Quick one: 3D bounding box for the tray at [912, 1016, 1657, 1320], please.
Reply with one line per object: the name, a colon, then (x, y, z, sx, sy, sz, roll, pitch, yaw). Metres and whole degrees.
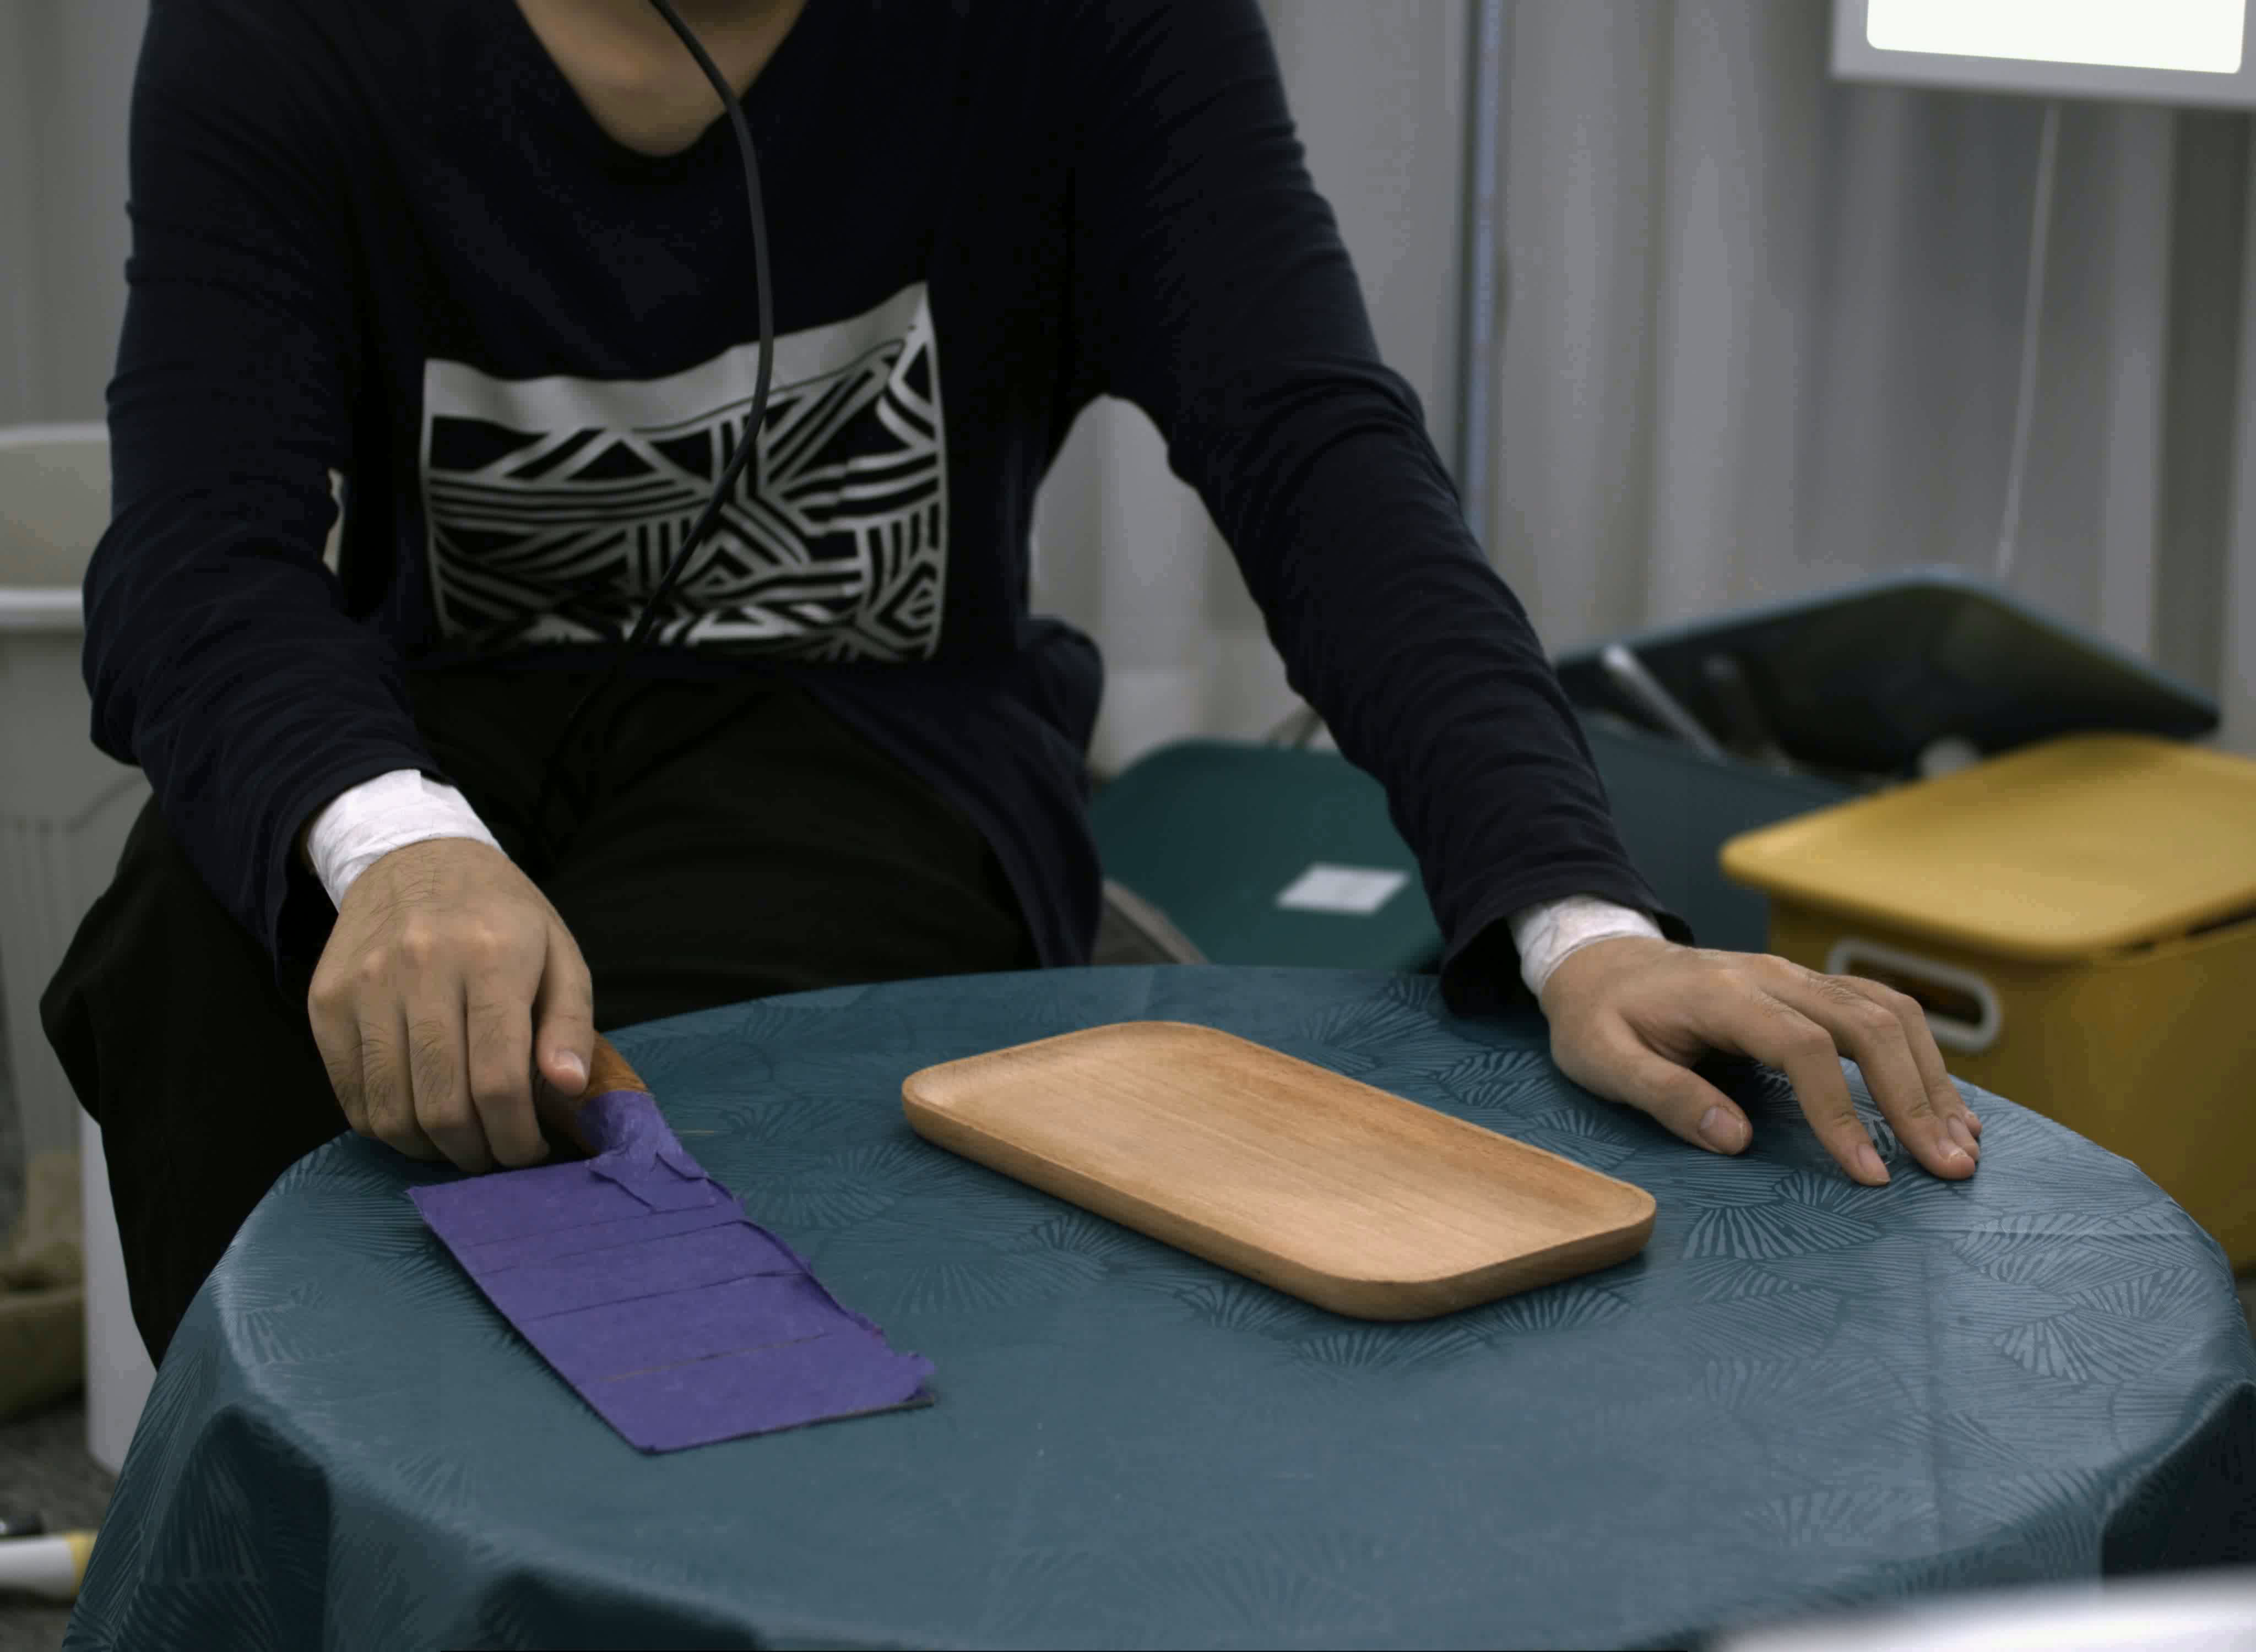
tray: (0.045, 0.103, 1.630, 0.131, 0.023, 0.247, -8, 16, -36)

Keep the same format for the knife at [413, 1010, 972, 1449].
knife: (-0.155, 0.115, 1.559, 0.104, 0.032, 0.311, -7, 17, -25)
